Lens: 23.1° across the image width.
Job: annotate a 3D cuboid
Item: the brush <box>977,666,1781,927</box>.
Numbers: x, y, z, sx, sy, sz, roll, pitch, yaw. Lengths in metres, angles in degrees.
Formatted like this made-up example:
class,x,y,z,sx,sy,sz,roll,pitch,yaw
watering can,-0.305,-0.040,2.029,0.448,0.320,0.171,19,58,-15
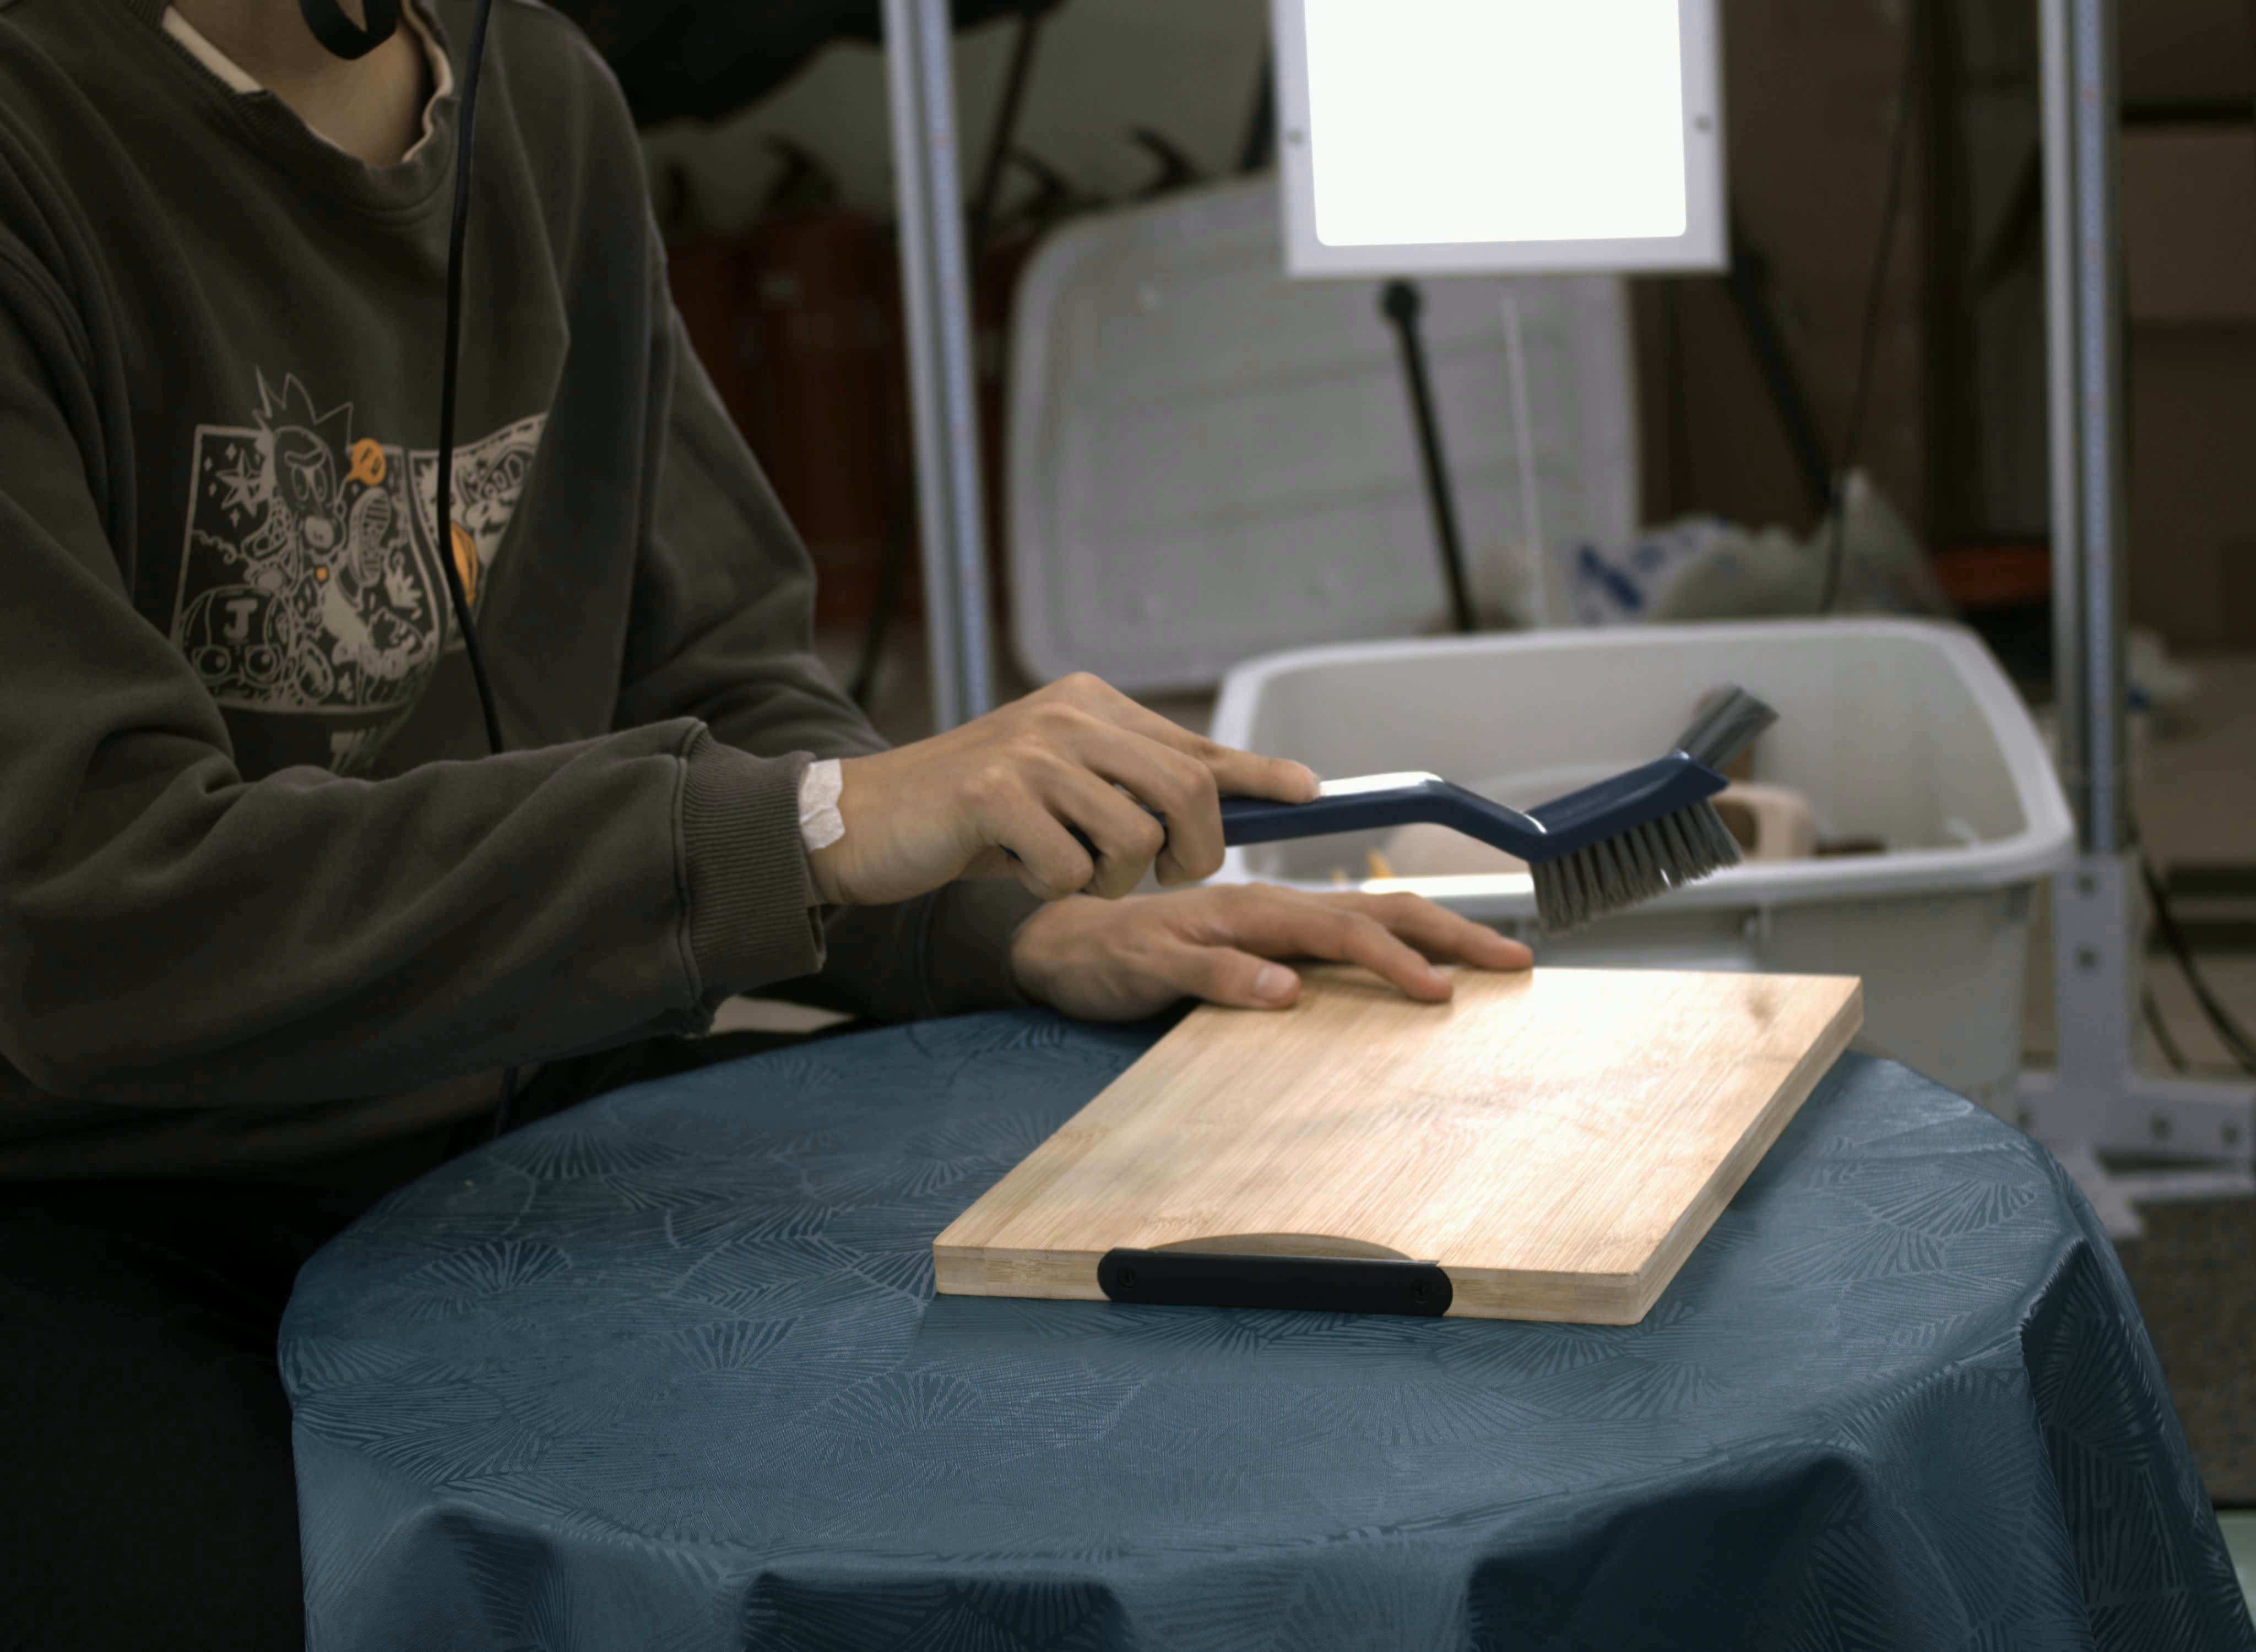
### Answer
class,x,y,z,sx,sy,sz,roll,pitch,yaw
brush,0.086,-0.013,1.873,0.269,0.096,0.034,1,22,-14

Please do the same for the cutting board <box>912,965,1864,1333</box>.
class,x,y,z,sx,sy,sz,roll,pitch,yaw
cutting board,0.101,0.107,1.907,0.254,0.023,0.342,-1,14,20
